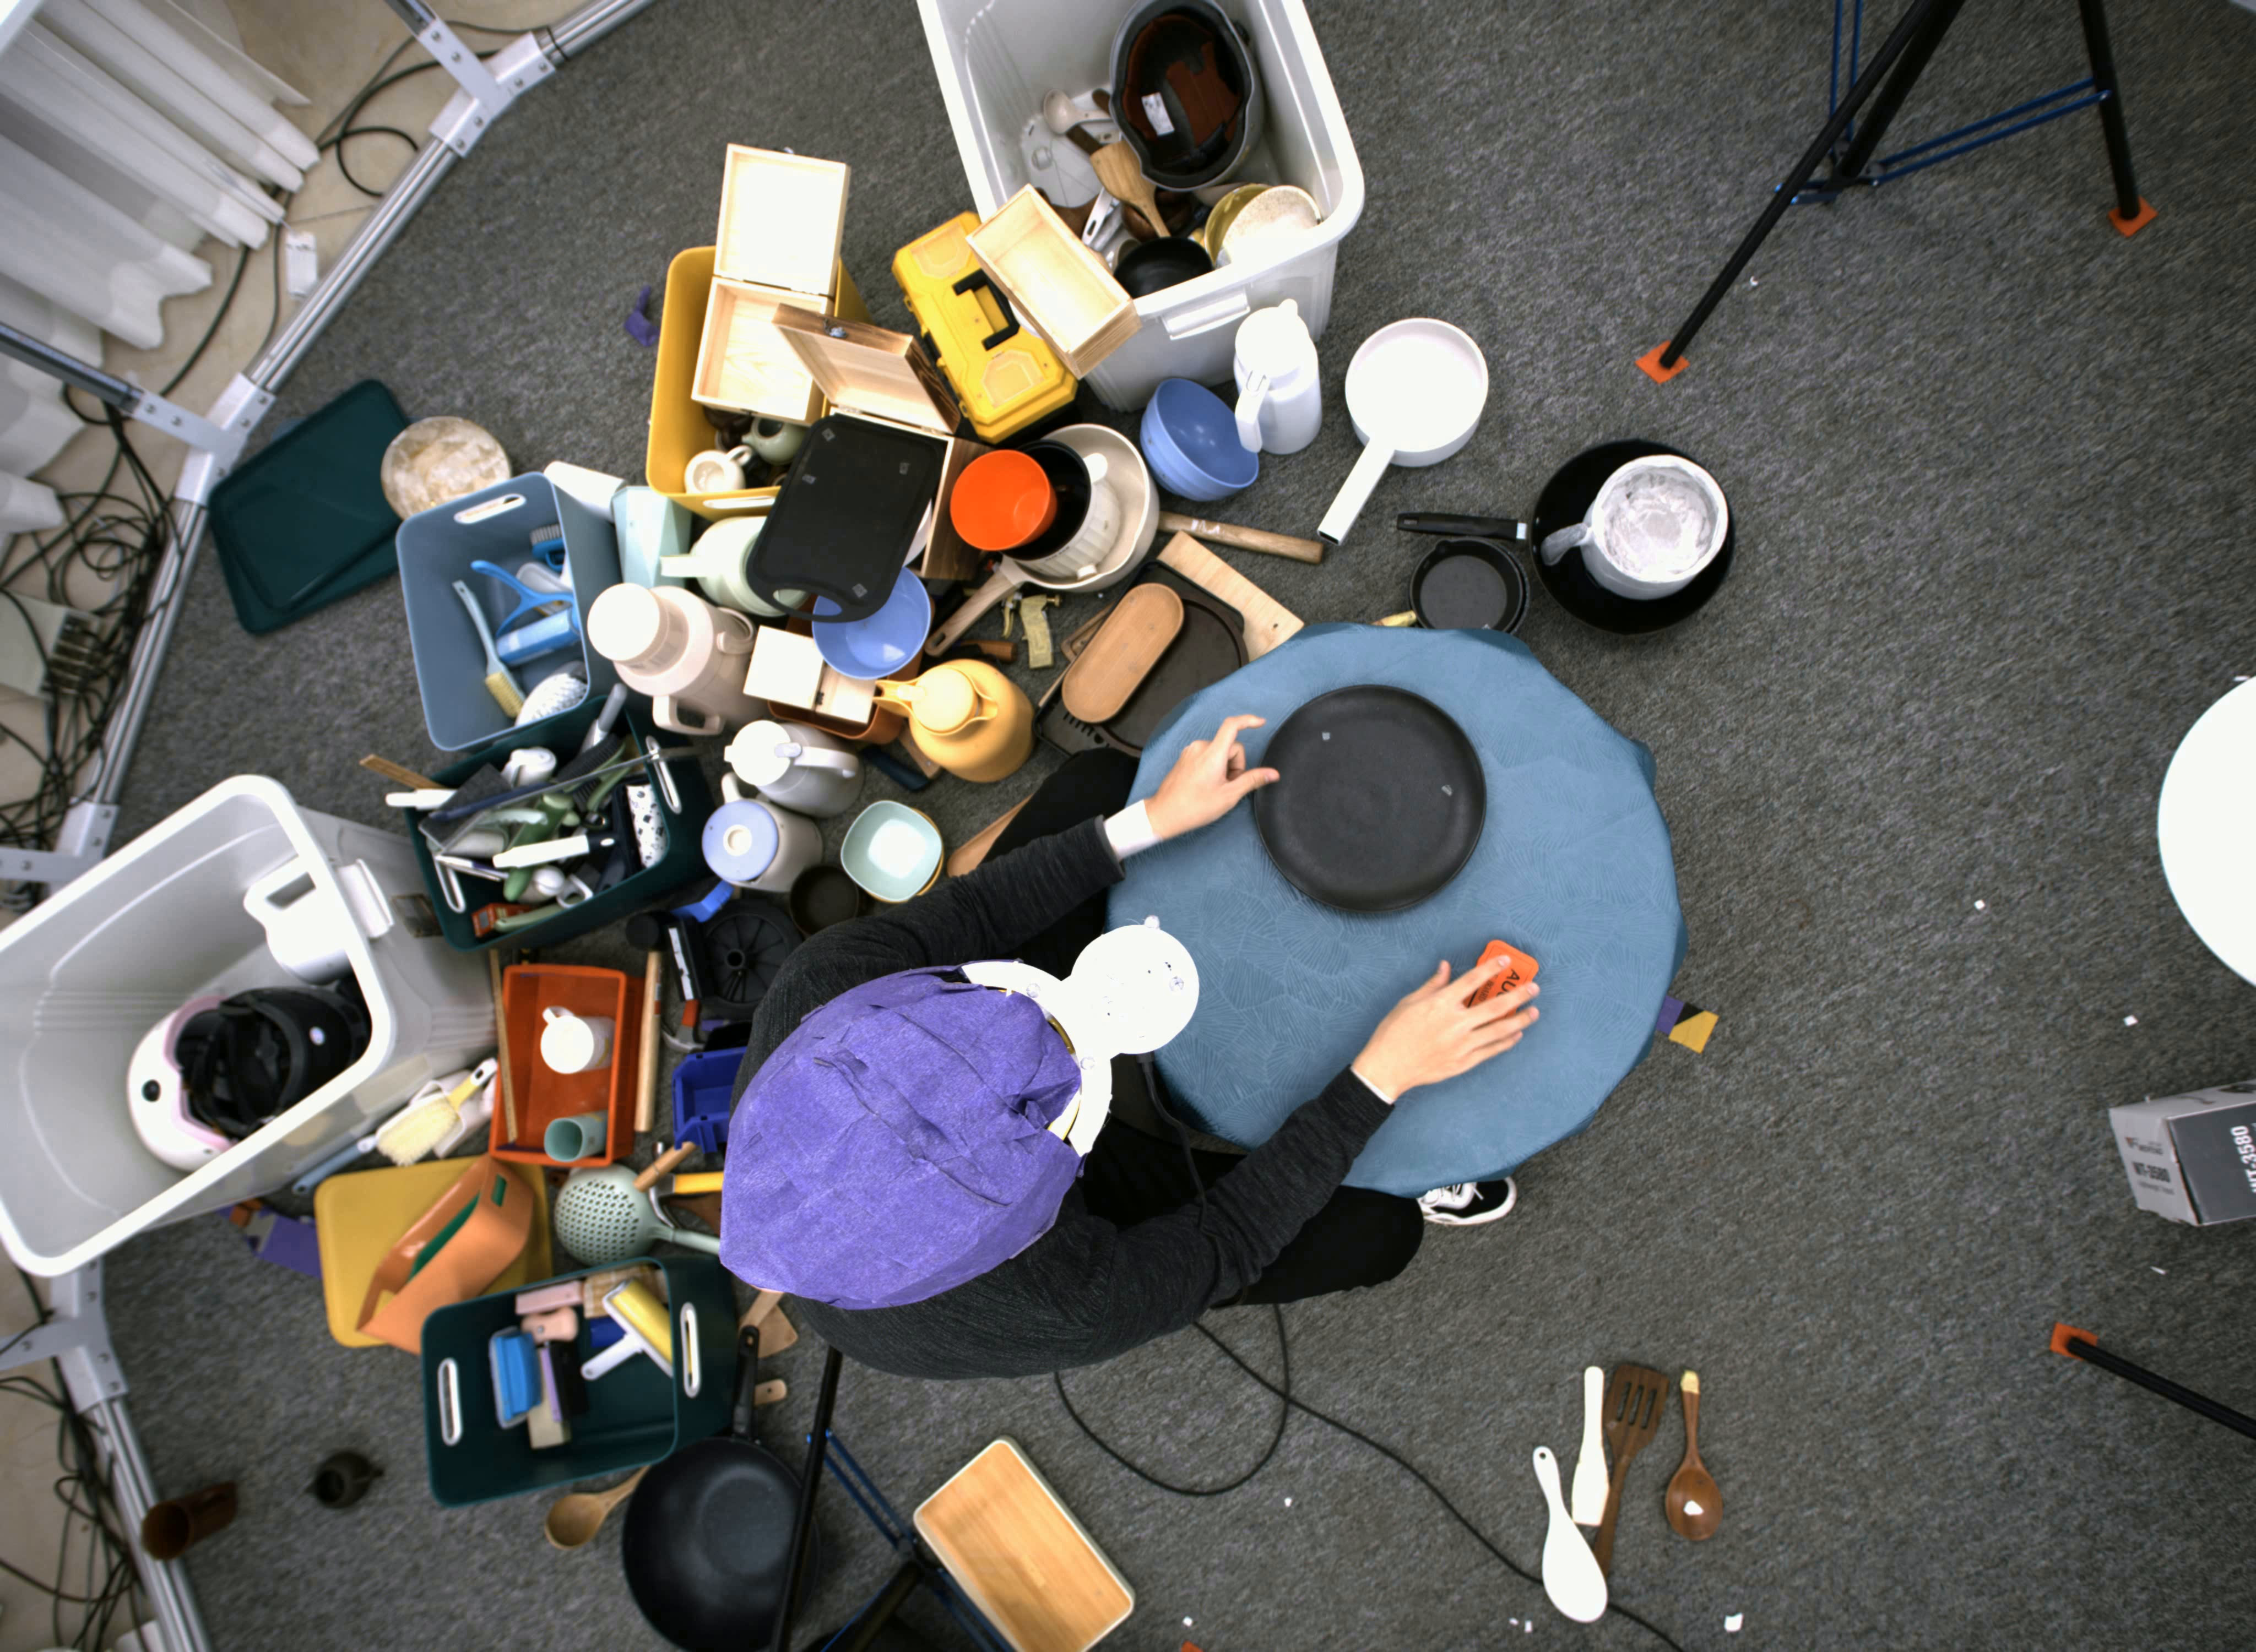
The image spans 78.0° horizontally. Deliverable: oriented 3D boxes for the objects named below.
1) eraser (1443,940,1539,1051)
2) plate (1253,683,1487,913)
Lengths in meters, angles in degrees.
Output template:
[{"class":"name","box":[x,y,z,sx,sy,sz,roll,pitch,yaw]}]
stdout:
[{"class":"eraser","box":[0.374,0.172,1.423,0.059,0.023,0.108,30,92,12]},{"class":"plate","box":[0.255,-0.031,1.457,0.245,0.023,0.243,-1,87,11]}]
